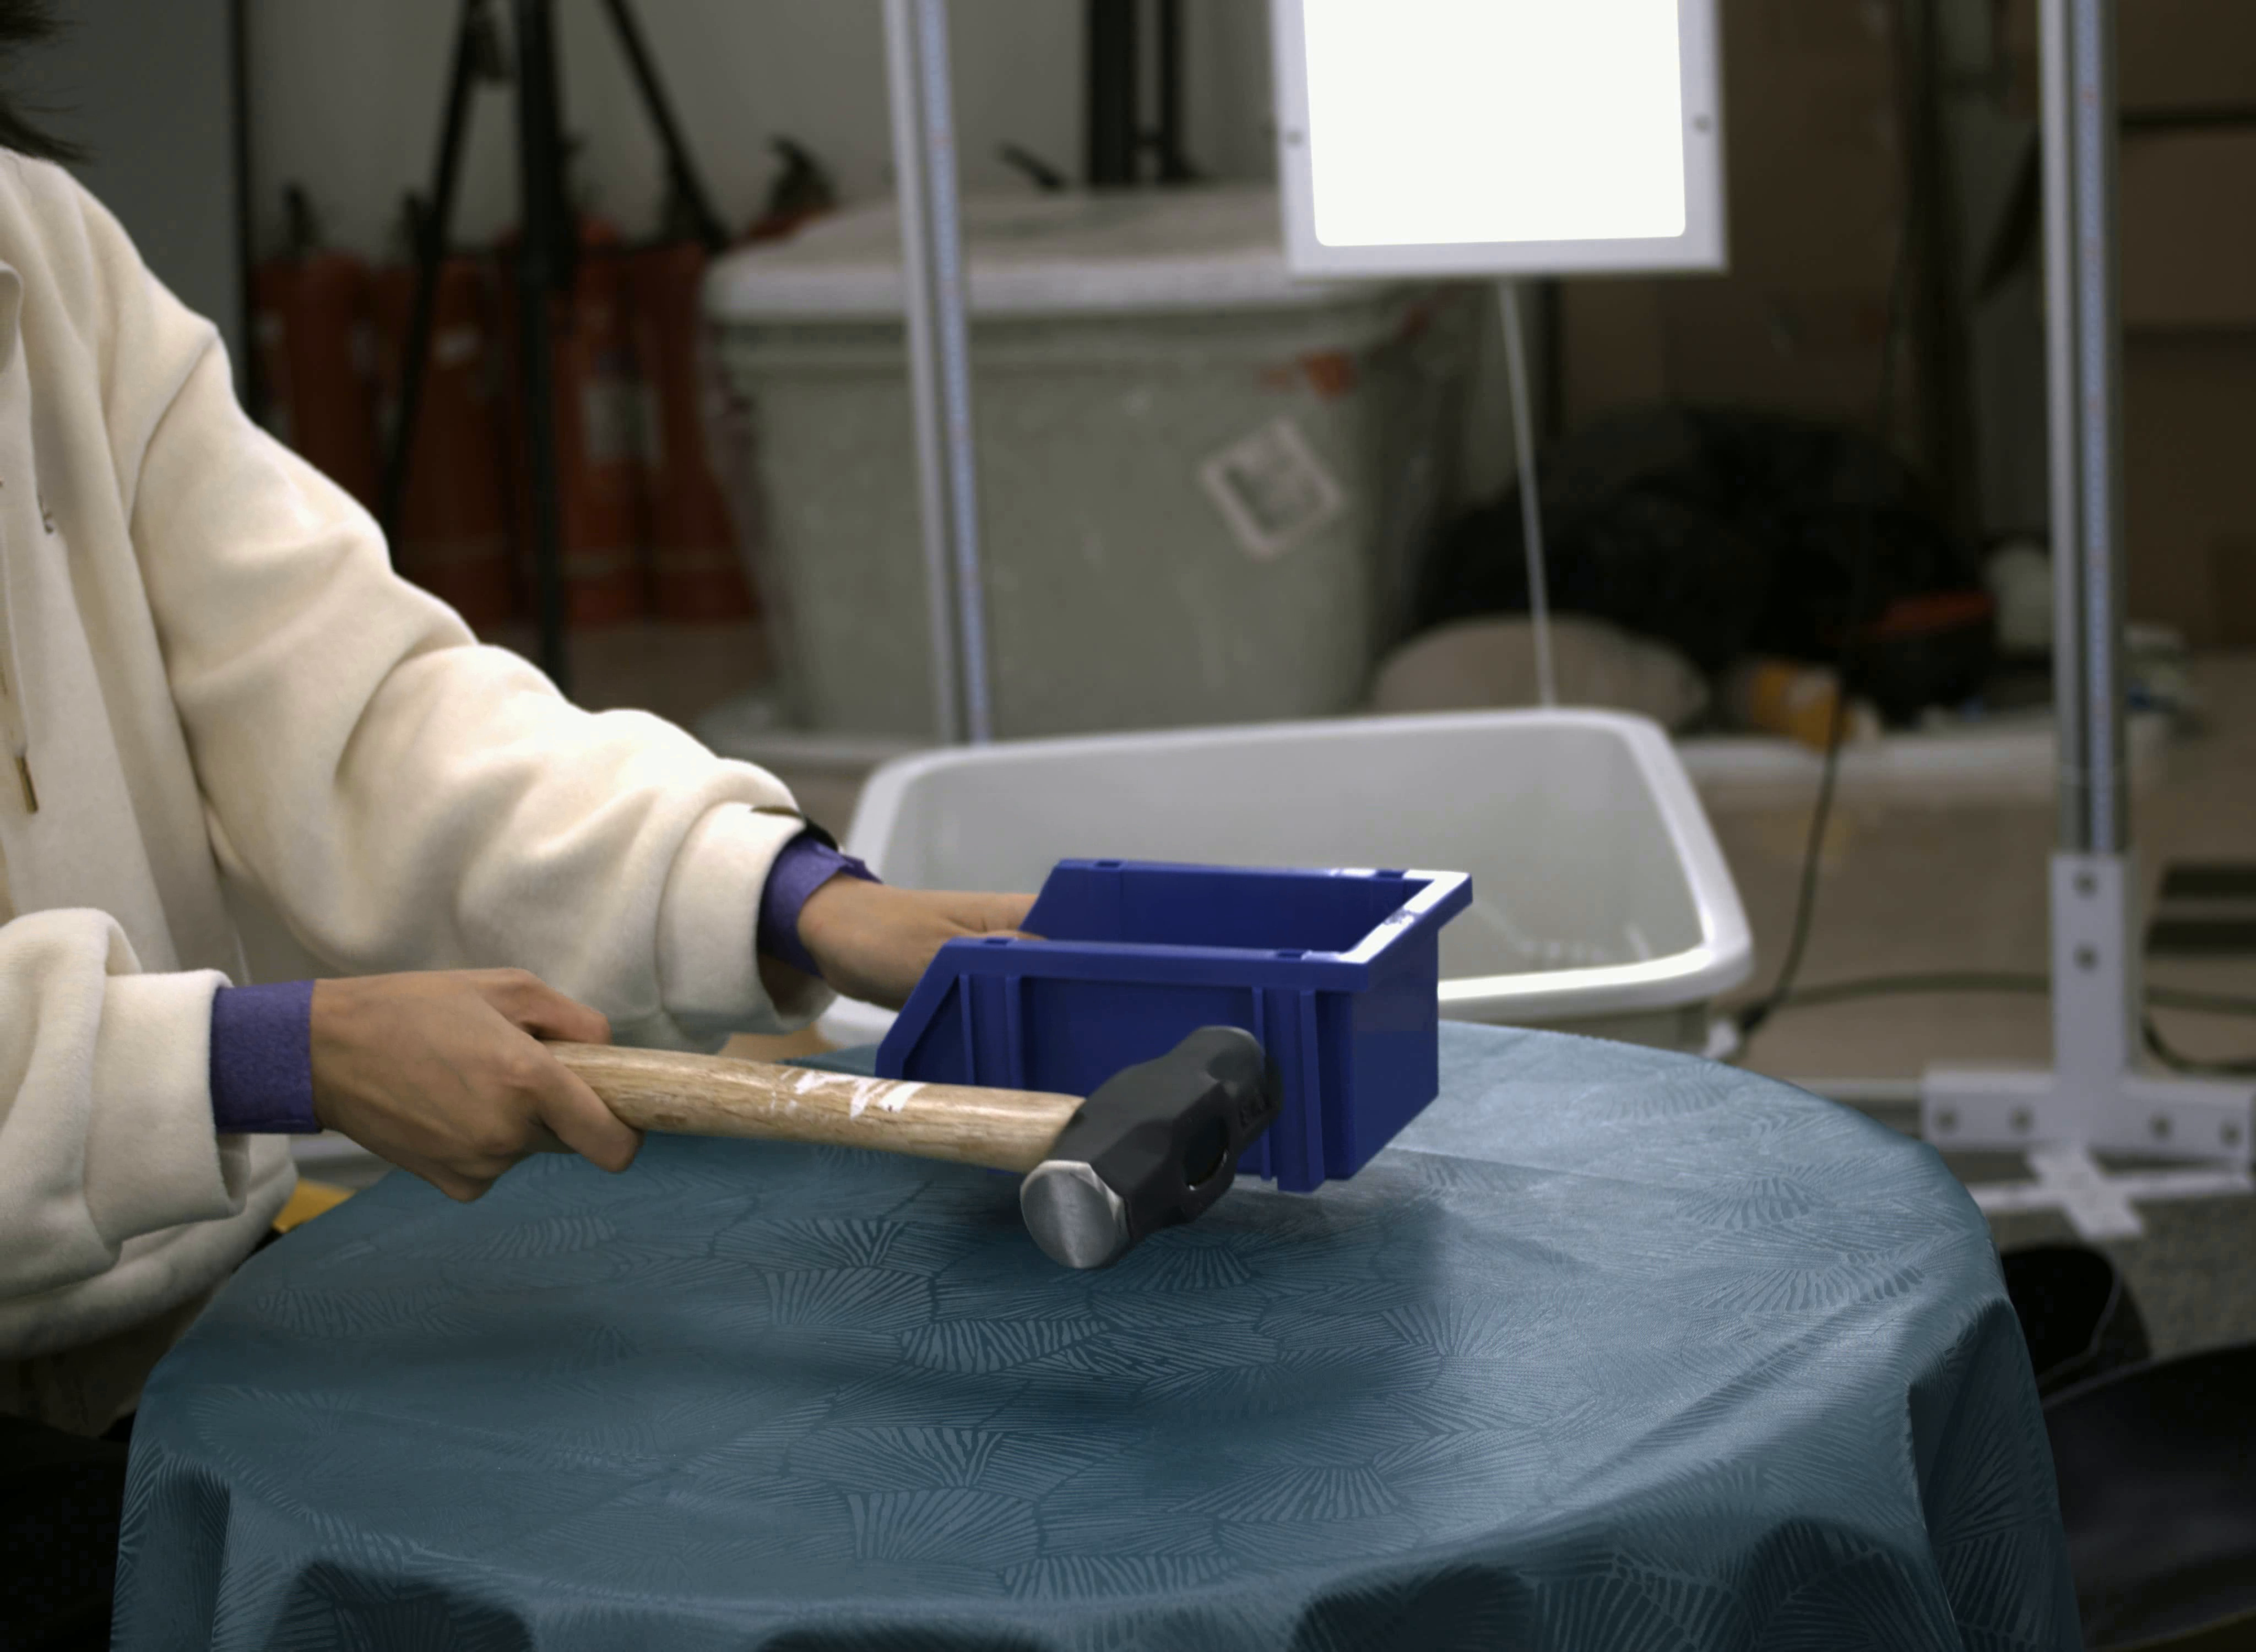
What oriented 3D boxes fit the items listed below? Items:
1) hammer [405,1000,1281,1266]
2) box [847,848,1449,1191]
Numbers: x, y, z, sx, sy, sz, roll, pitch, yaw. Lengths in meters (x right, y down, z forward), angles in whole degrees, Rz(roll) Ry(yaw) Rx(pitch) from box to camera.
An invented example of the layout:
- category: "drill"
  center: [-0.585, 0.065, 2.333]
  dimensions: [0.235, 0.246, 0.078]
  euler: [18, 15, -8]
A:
- category: "hammer"
  center: [-0.106, 0.086, 1.772]
  dimensions: [0.311, 0.038, 0.105]
  euler: [6, 26, 34]
- category: "box"
  center: [0.006, 0.064, 1.878]
  dimensions: [0.182, 0.082, 0.122]
  euler: [5, 16, 23]
